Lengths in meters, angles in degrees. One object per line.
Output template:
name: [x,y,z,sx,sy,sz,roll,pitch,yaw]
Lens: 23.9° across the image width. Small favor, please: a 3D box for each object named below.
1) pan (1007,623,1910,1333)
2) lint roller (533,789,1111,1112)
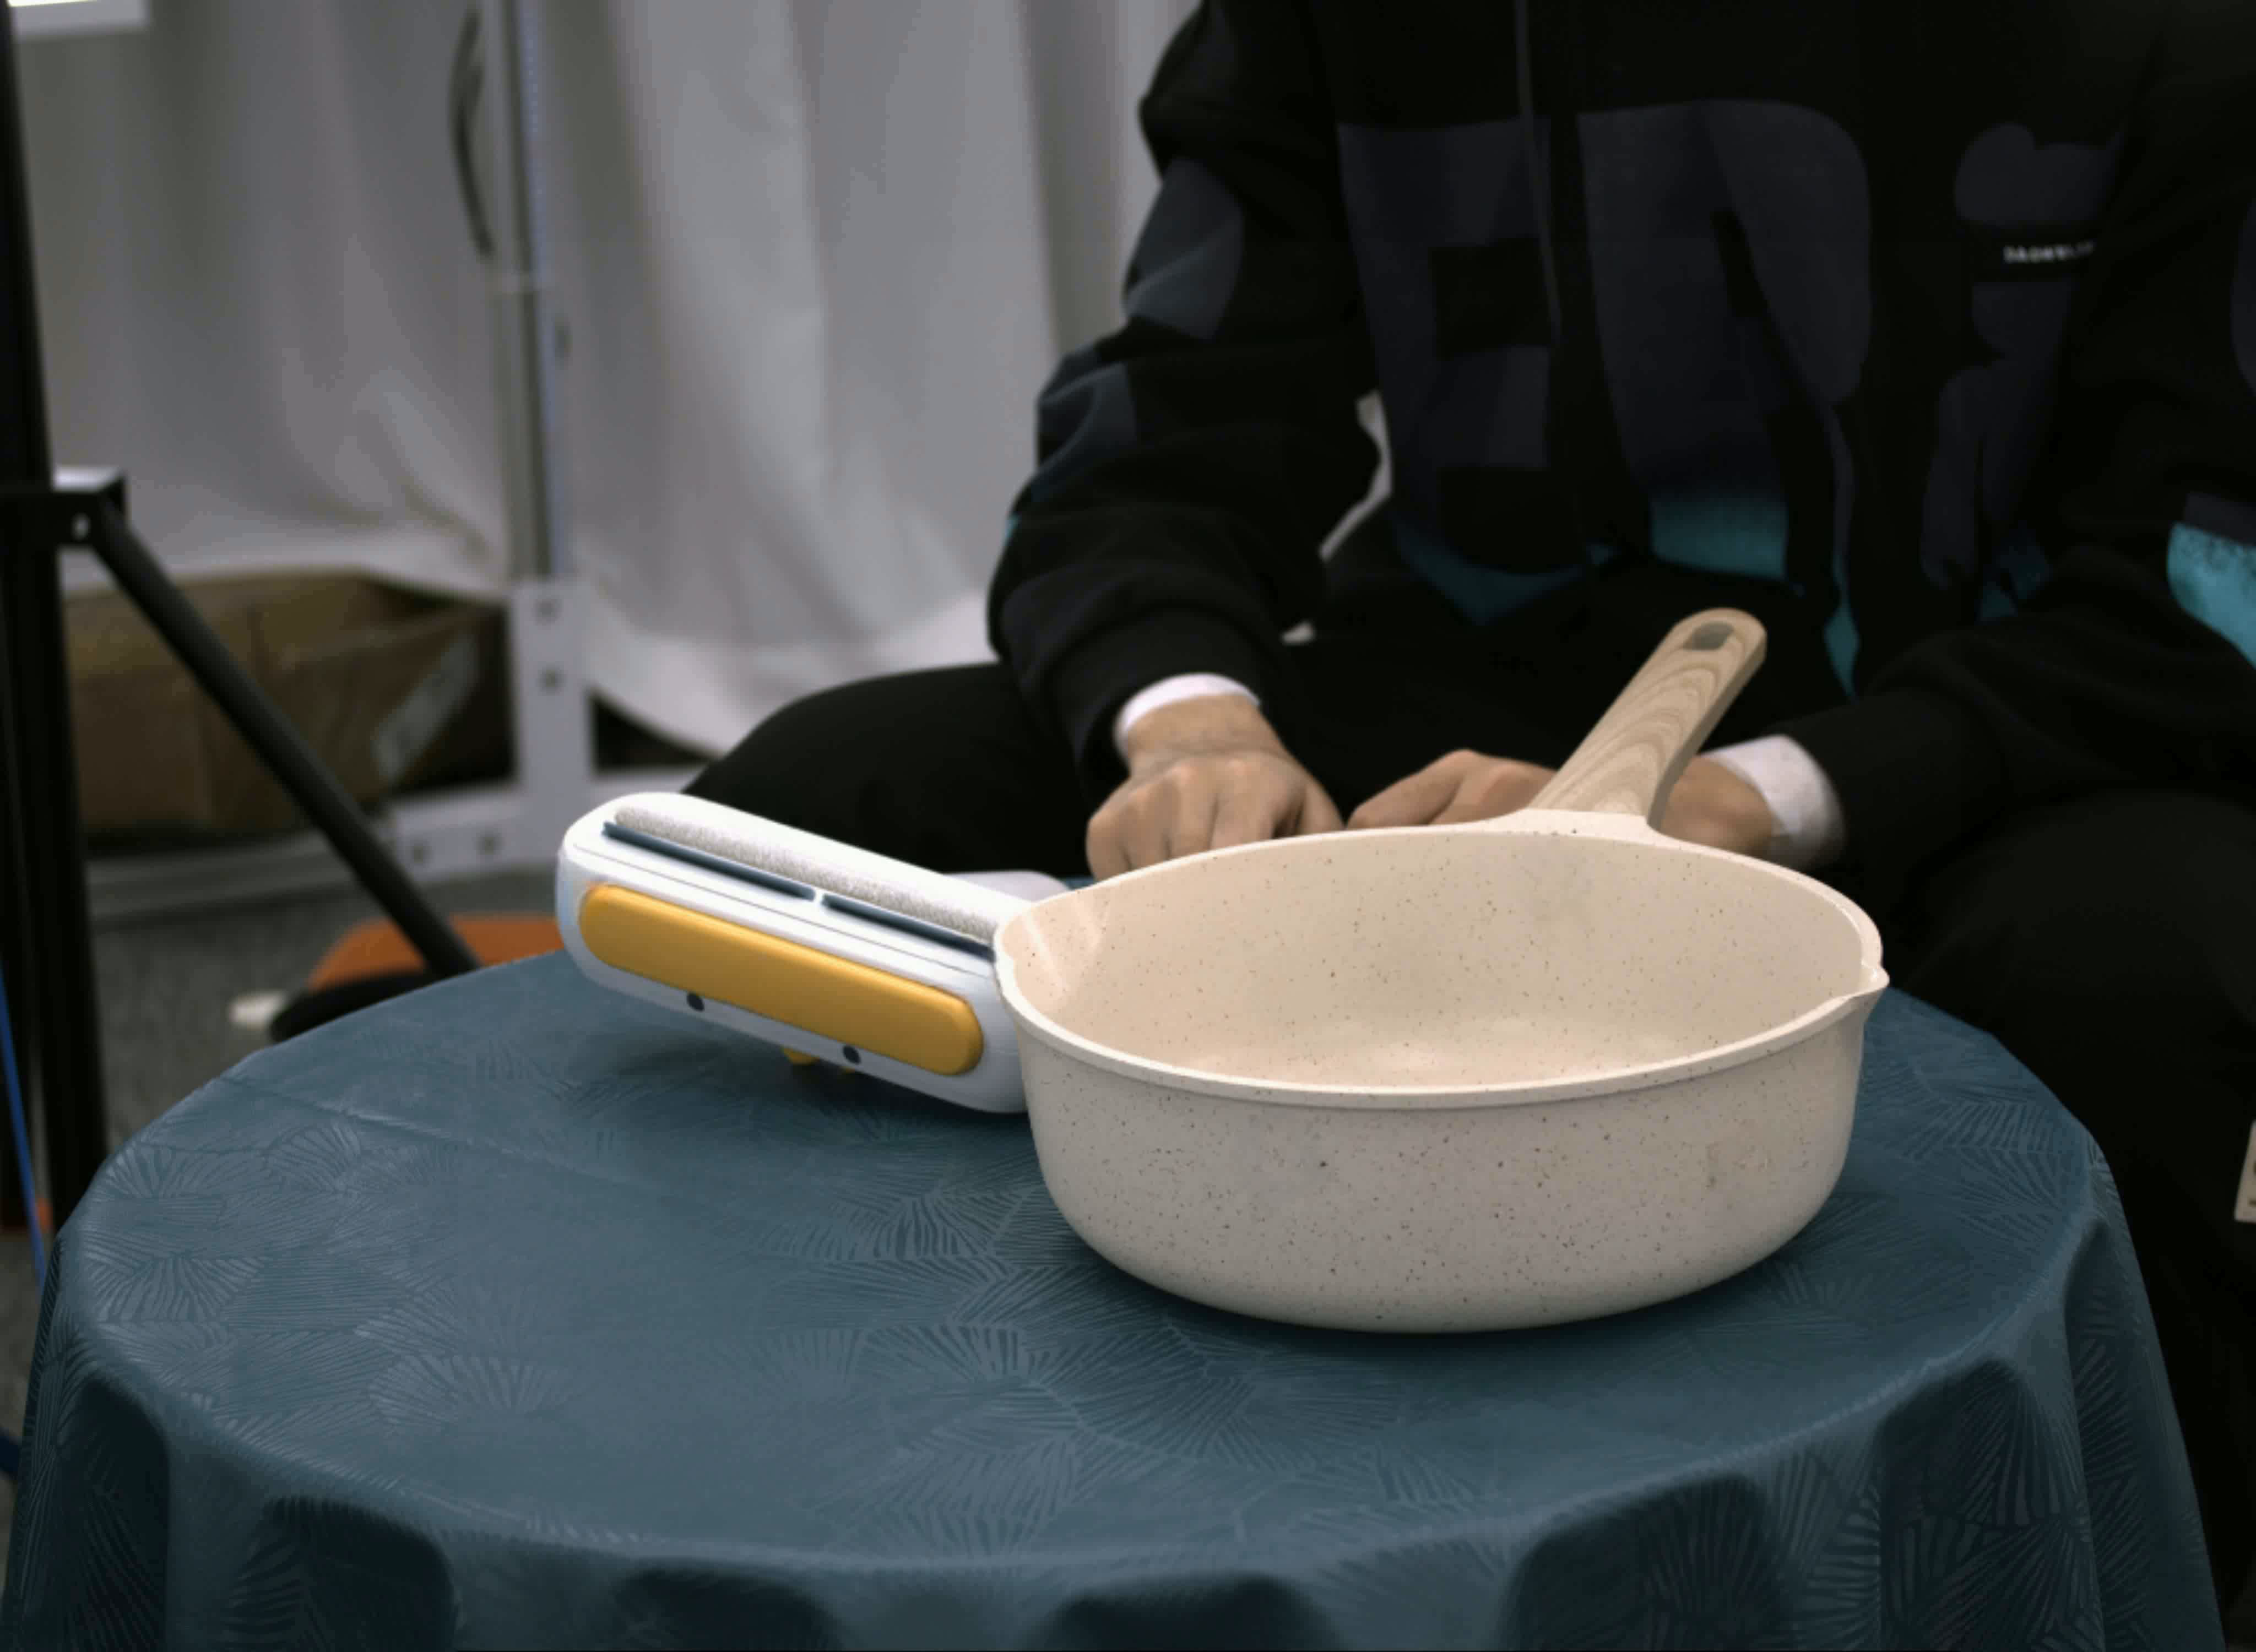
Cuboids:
pan: [0.126,0.041,1.588,0.267,0.102,0.429,1,16,22]
lint roller: [-0.068,0.031,1.717,0.196,0.074,0.188,13,20,31]
